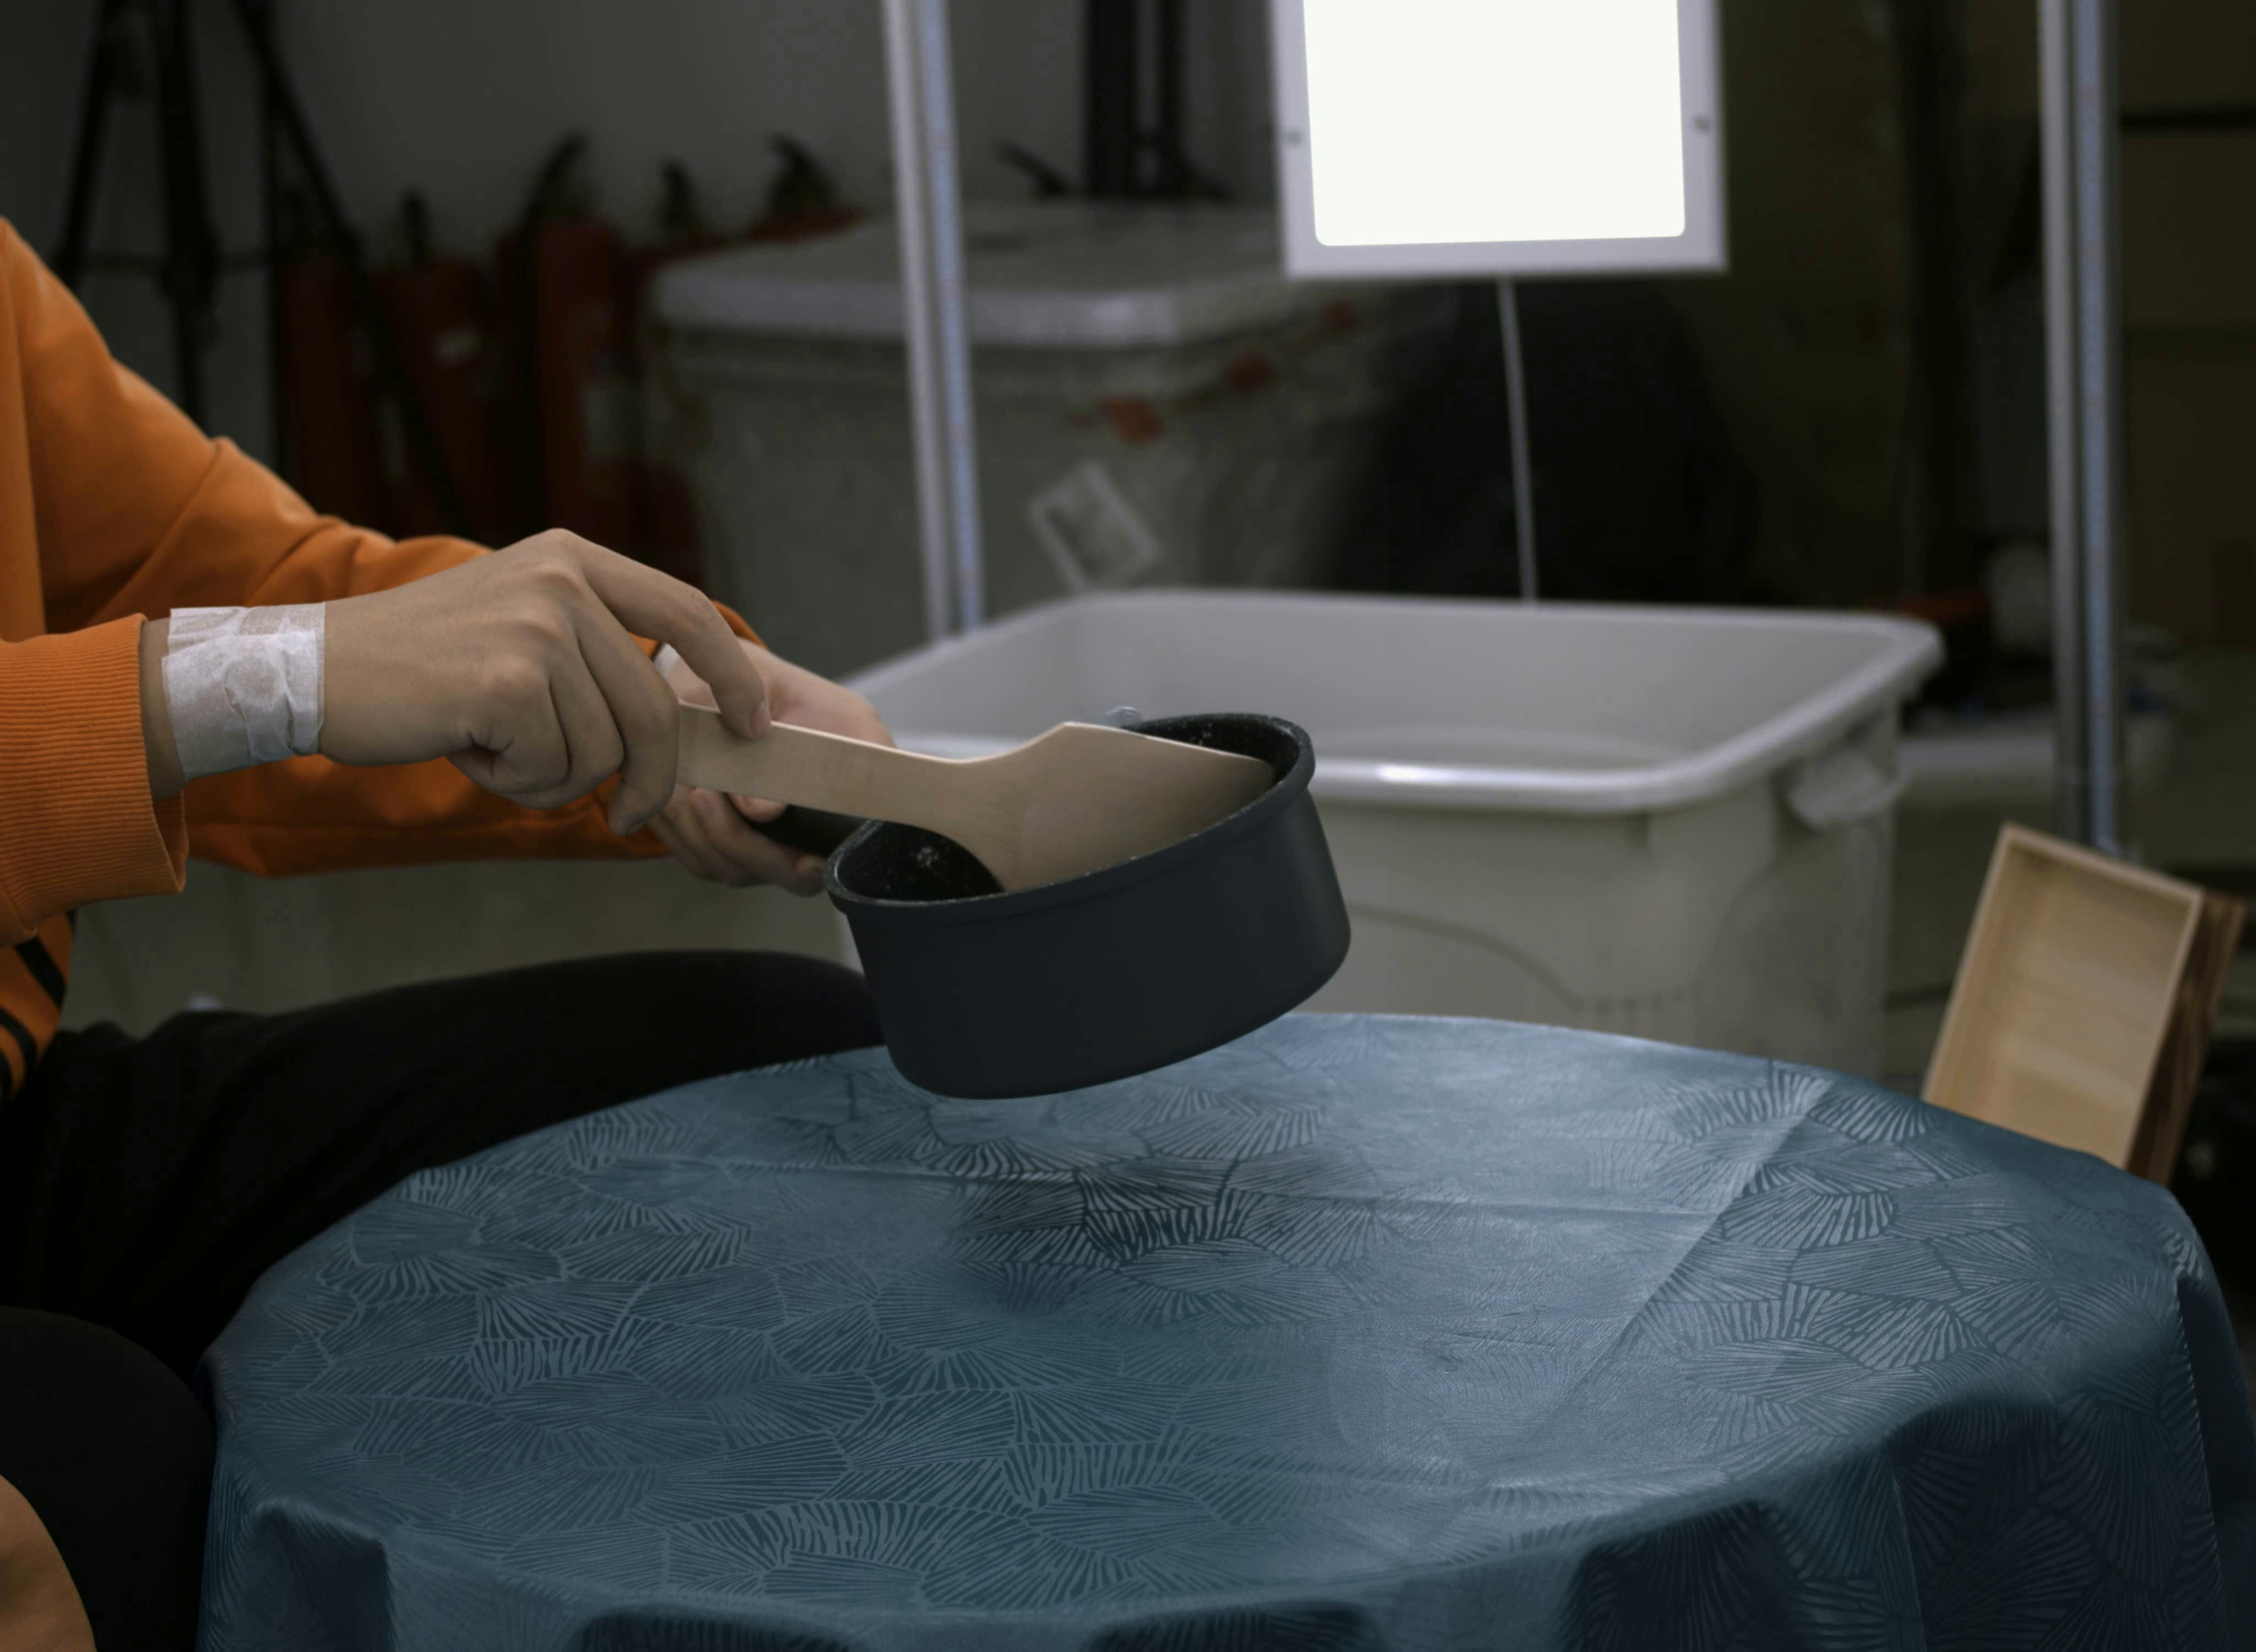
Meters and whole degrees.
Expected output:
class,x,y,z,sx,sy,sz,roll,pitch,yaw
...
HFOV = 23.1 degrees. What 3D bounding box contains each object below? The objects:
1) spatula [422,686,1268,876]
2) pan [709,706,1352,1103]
class,x,y,z,sx,sy,sz,roll,pitch,yaw
spatula,-0.092,-0.018,1.829,0.288,0.073,0.011,7,21,-19
pan,-0.057,0.018,1.928,0.168,0.086,0.335,-25,19,-30
